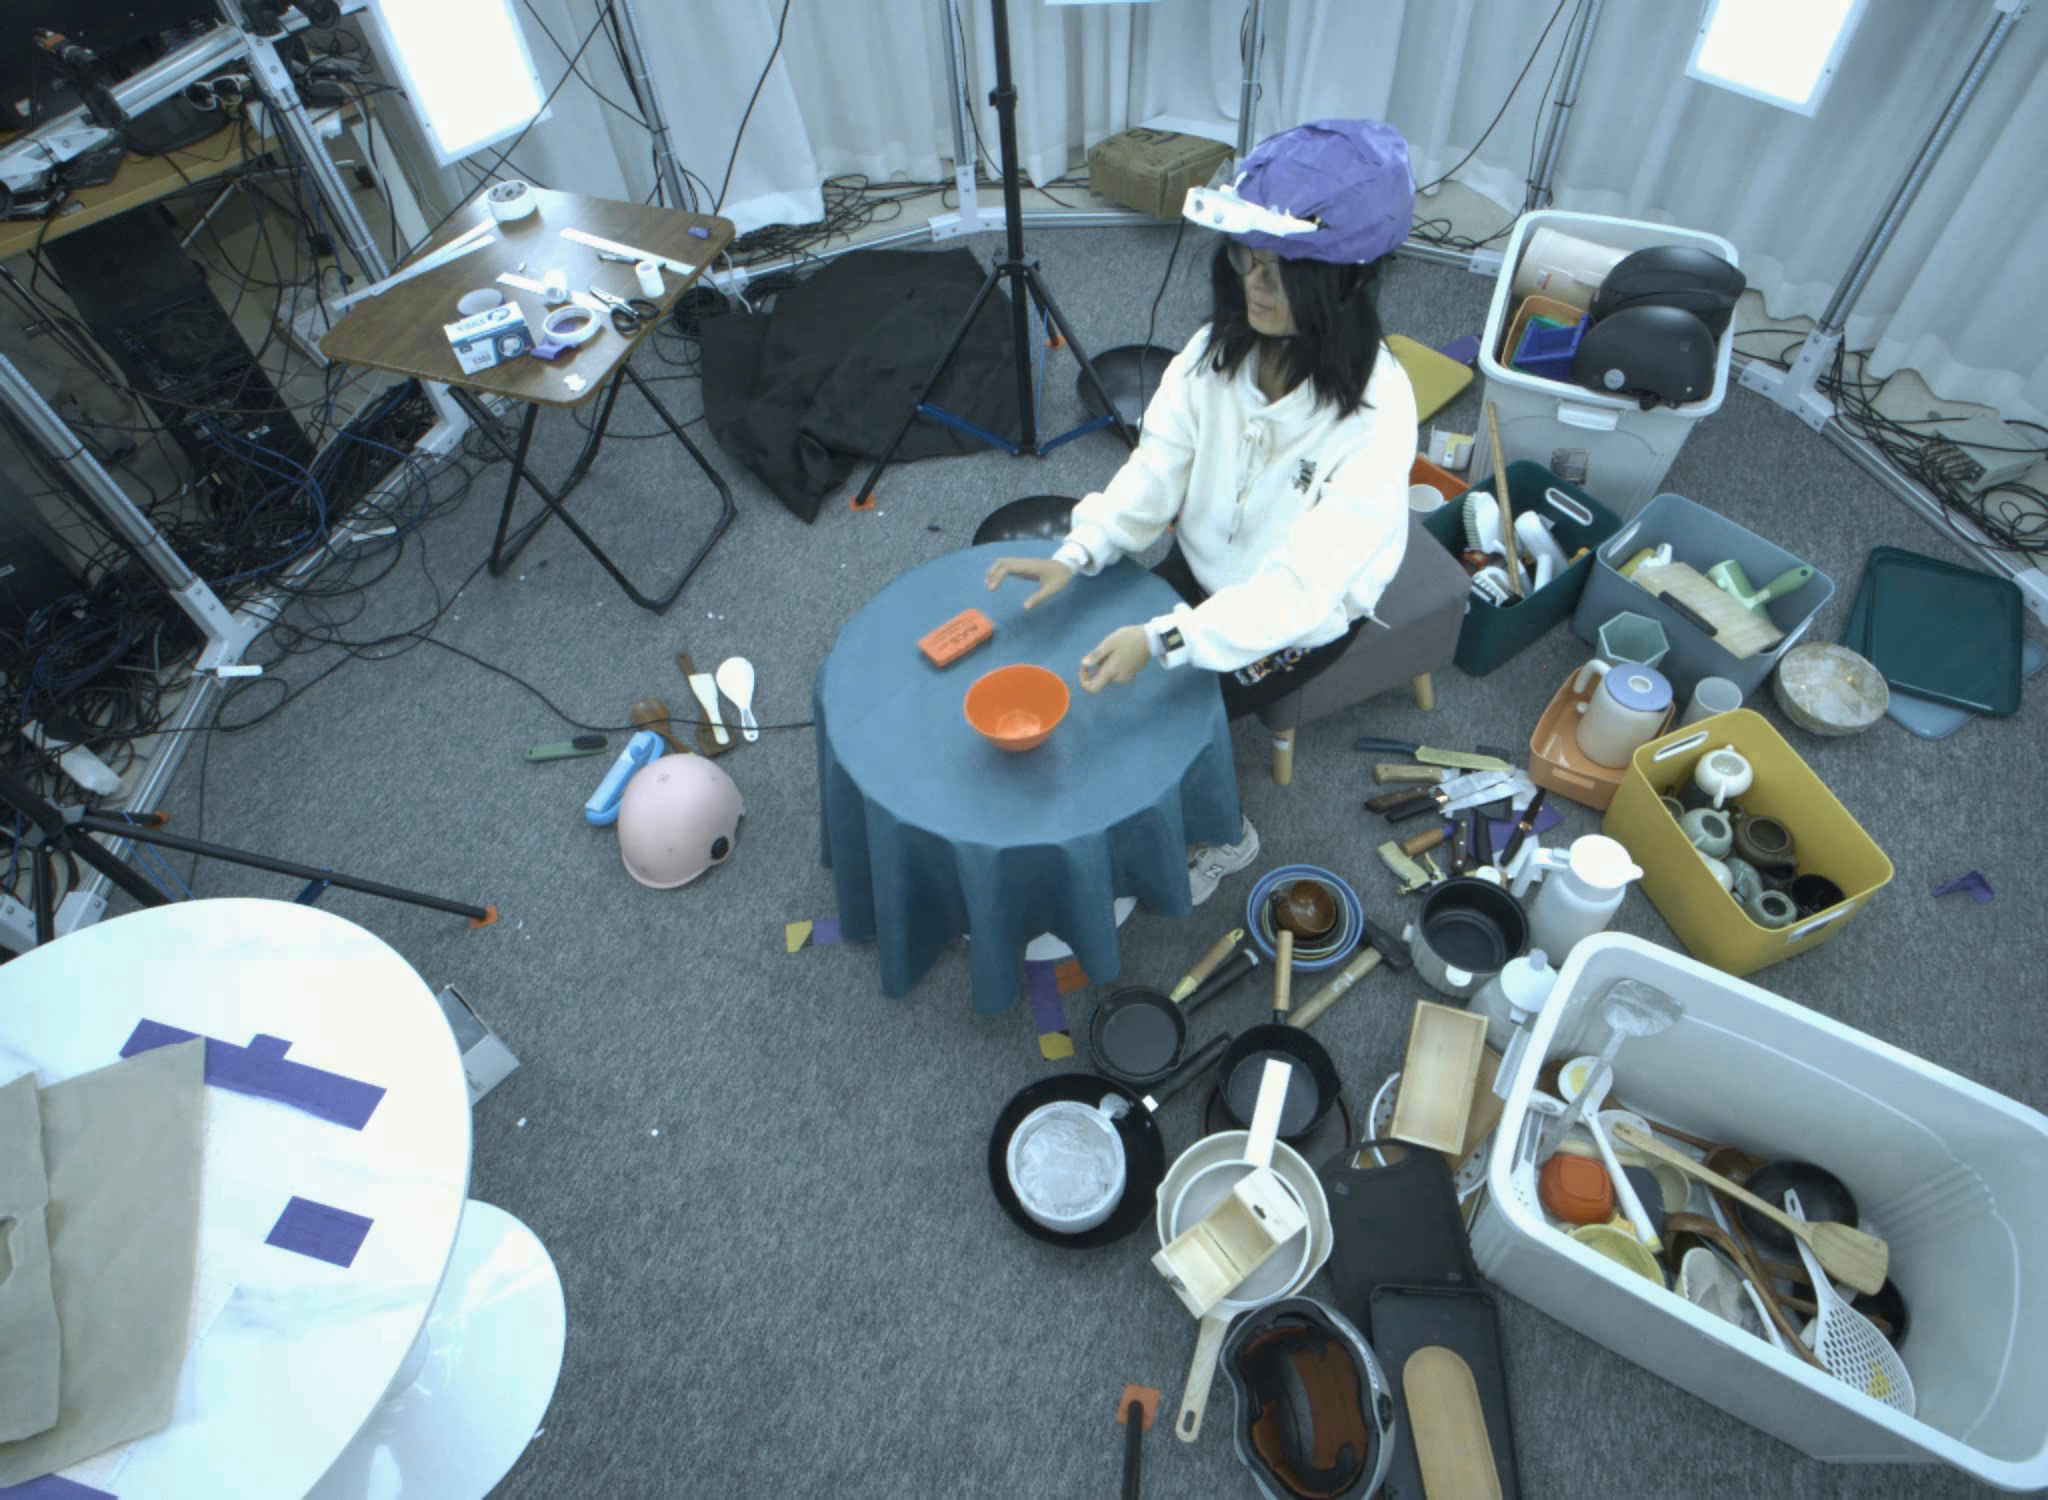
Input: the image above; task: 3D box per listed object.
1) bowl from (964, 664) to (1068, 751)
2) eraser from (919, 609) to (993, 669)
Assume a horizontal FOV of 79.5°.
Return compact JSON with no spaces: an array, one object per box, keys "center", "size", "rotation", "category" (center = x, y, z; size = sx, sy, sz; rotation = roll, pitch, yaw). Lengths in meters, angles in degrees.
[{"center":[-0.009,-0.045,1.757],"size":[0.148,0.106,0.146],"rotation":[-1,58,3],"category":"bowl"},{"center":[-0.105,-0.173,1.899],"size":[0.109,0.023,0.058],"rotation":[-35,58,-20],"category":"eraser"}]
